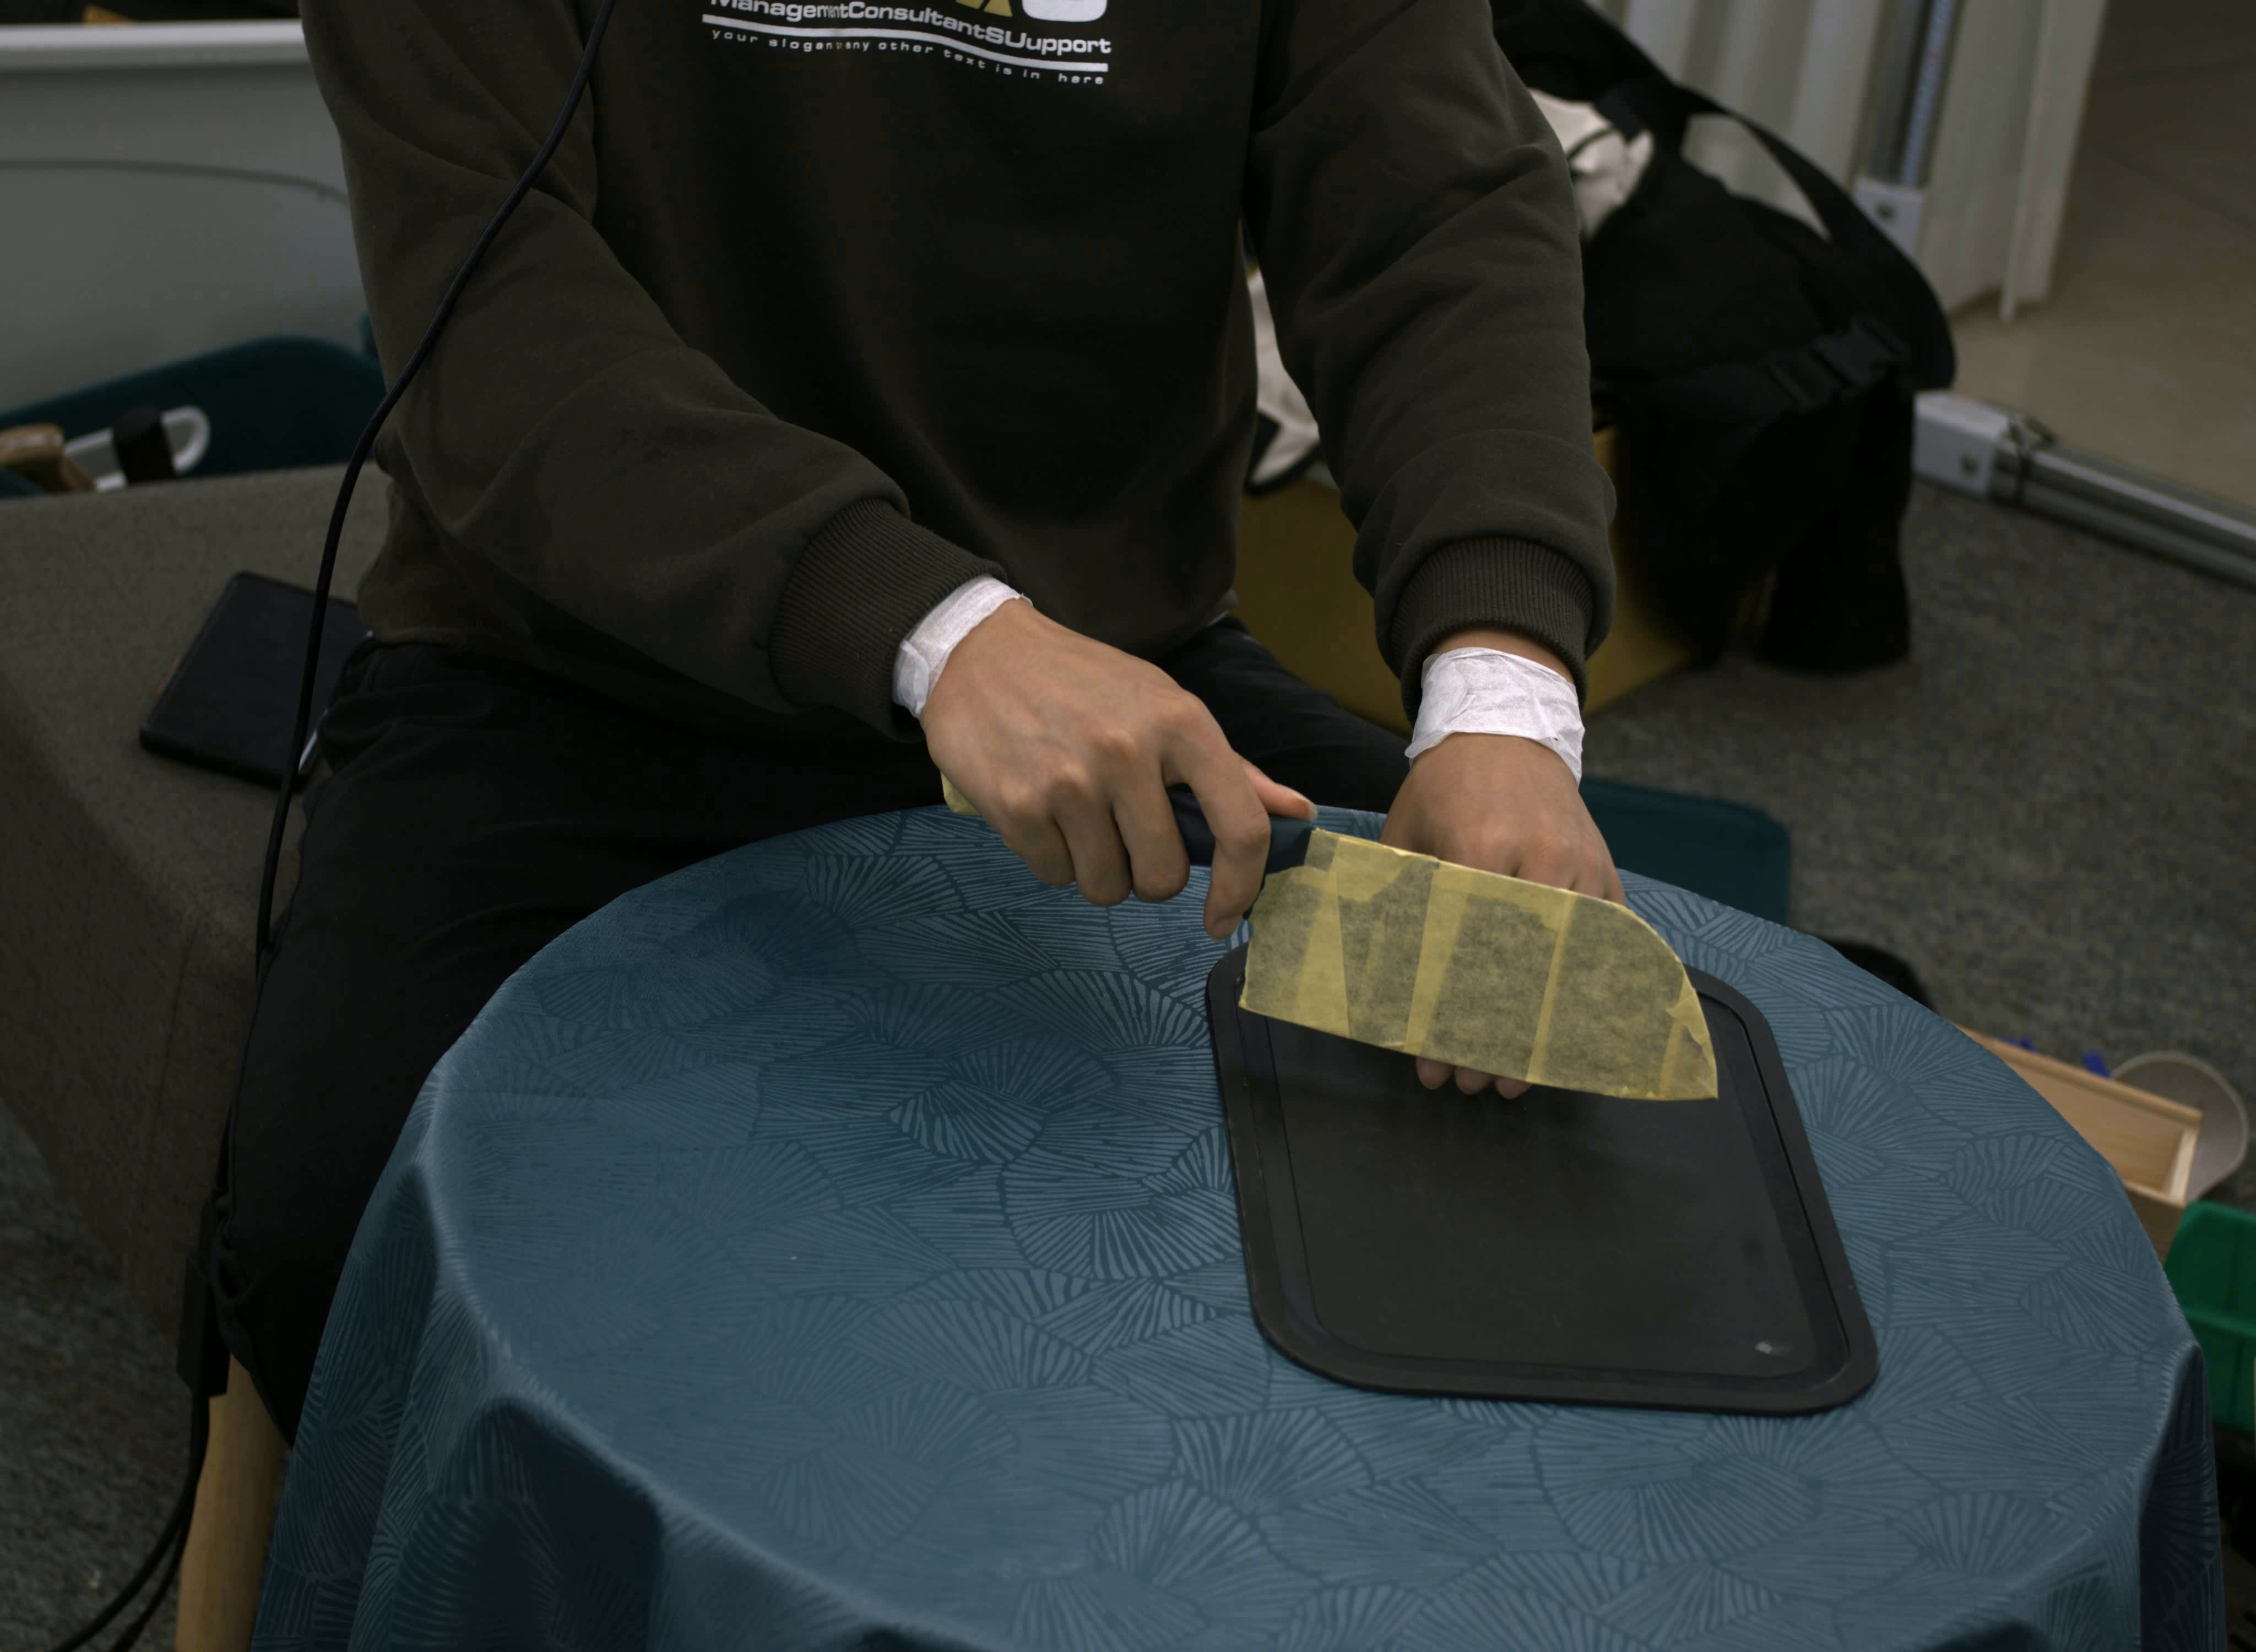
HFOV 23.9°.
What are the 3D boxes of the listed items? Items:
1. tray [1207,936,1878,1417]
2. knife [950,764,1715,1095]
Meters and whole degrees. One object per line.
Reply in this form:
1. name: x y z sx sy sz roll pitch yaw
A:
1. tray: 0.137 0.110 1.855 0.210 0.010 0.327 4 27 -5
2. knife: 0.069 0.035 1.874 0.290 0.081 0.027 17 16 14
